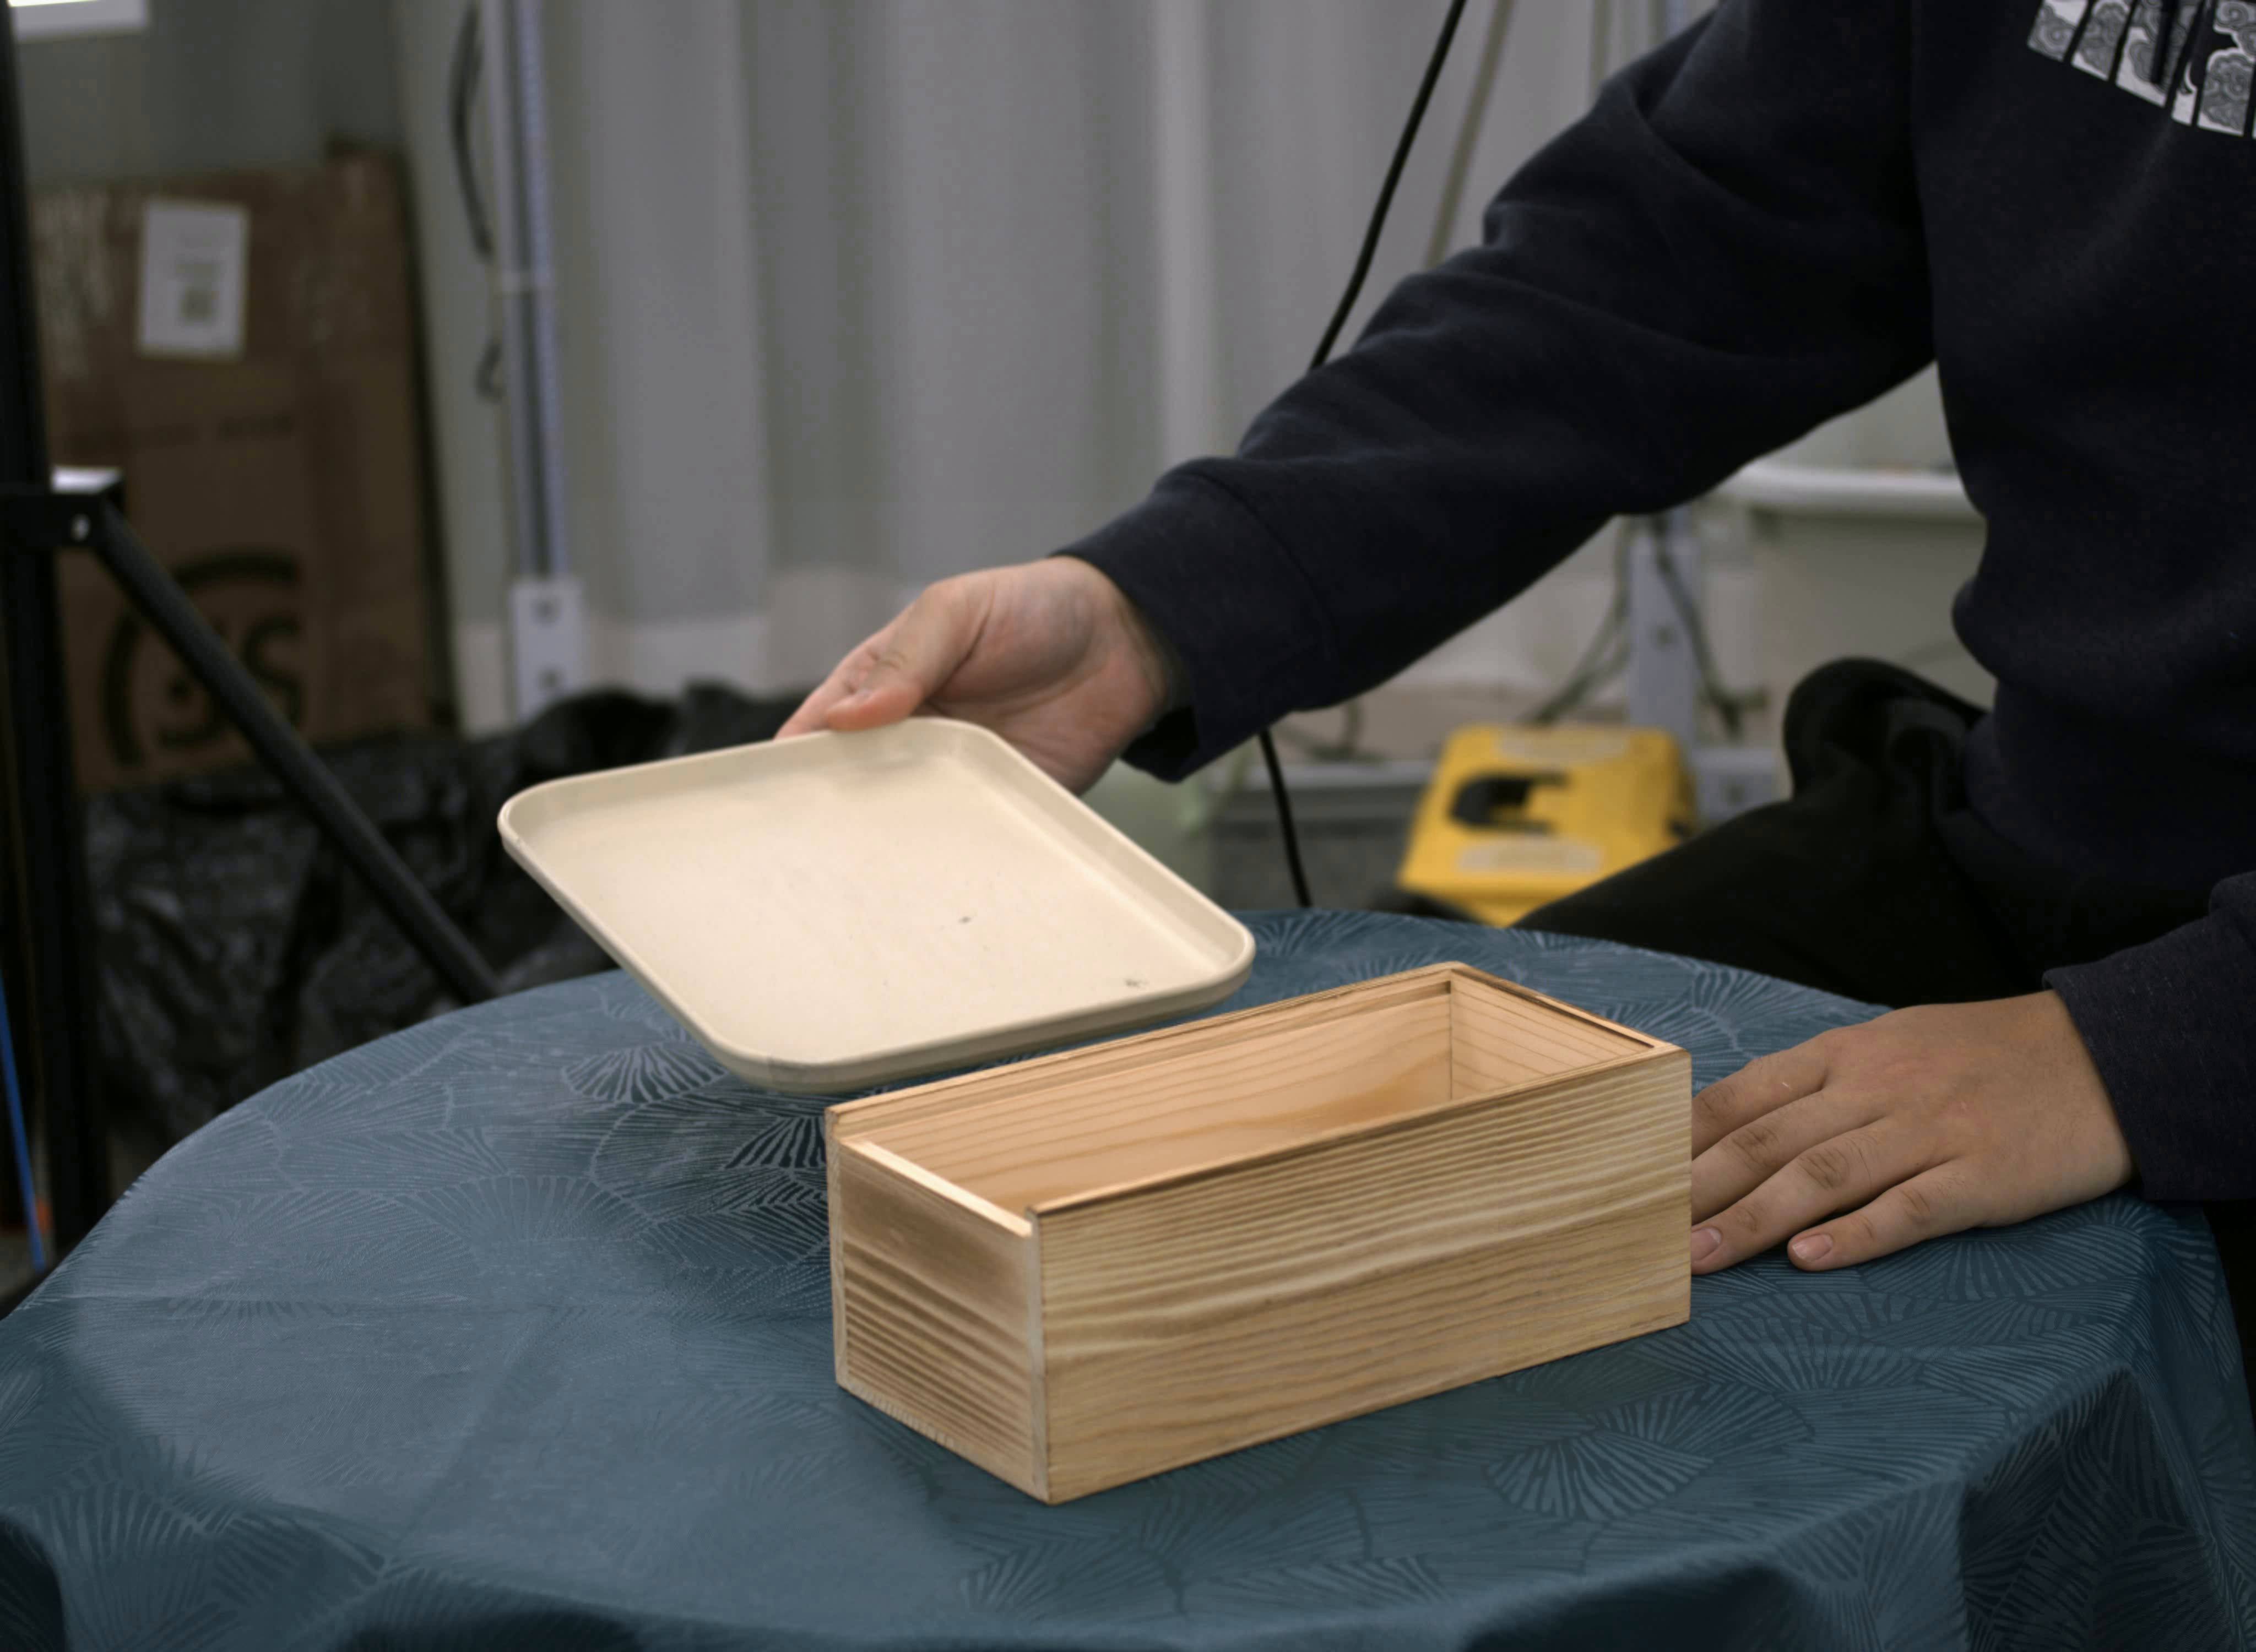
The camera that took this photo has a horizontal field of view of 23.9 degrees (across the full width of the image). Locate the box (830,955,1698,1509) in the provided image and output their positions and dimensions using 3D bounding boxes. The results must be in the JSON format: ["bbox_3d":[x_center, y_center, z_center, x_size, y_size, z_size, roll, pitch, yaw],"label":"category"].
[{"bbox_3d":[0.038,0.104,1.418,0.206,0.080,0.110,-12,19,-31],"label":"box"}]

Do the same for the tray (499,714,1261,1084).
[{"bbox_3d":[-0.078,0.020,1.611,0.168,0.017,0.245,-11,23,-23],"label":"tray"}]
